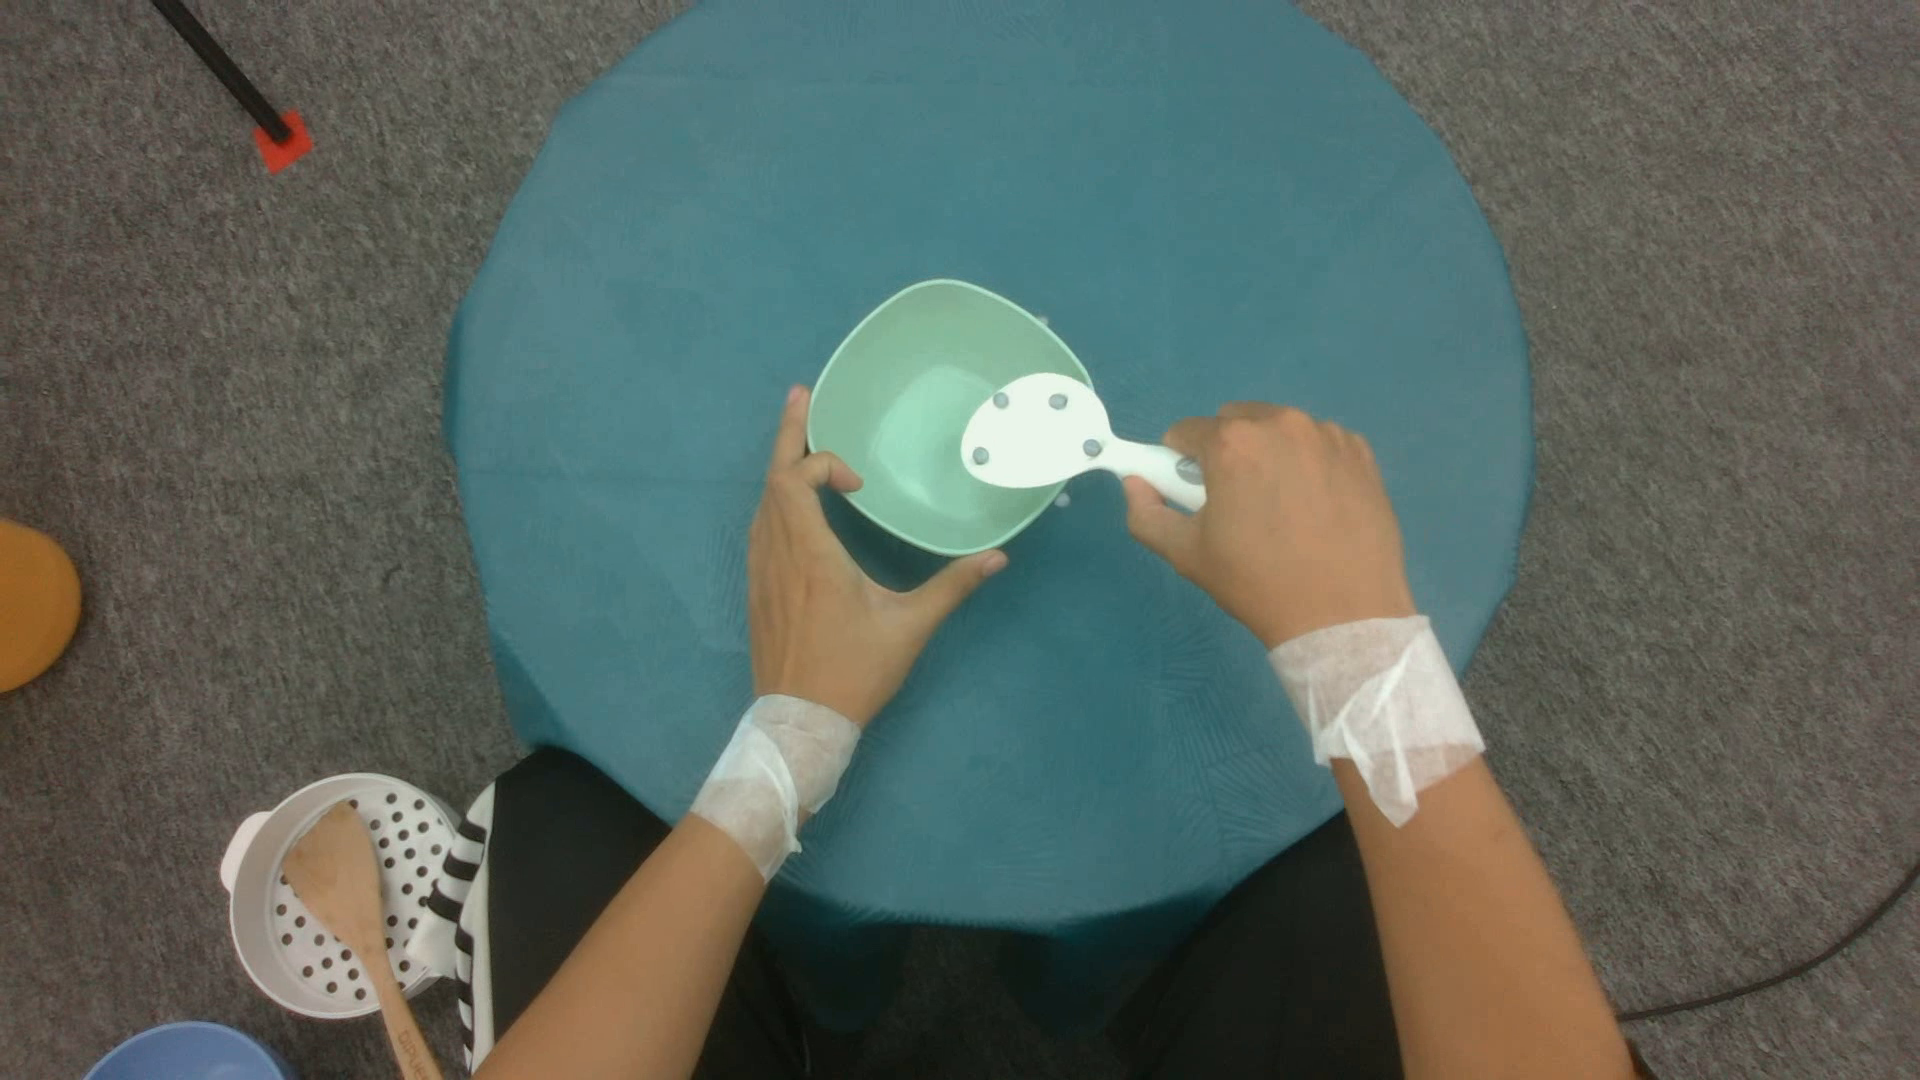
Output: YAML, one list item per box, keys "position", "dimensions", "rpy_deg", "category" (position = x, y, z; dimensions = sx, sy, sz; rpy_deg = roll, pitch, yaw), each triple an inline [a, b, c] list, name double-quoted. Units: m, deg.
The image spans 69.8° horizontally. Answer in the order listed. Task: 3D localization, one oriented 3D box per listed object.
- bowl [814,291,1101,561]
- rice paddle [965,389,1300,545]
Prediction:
- position: [-0.001, -0.055, 0.747]
  dimensions: [0.151, 0.058, 0.152]
  rpy_deg: [0, 73, -1]
  category: "bowl"
- position: [0.072, -0.036, 0.663]
  dimensions: [0.205, 0.029, 0.069]
  rpy_deg: [21, 70, 48]
  category: "rice paddle"
